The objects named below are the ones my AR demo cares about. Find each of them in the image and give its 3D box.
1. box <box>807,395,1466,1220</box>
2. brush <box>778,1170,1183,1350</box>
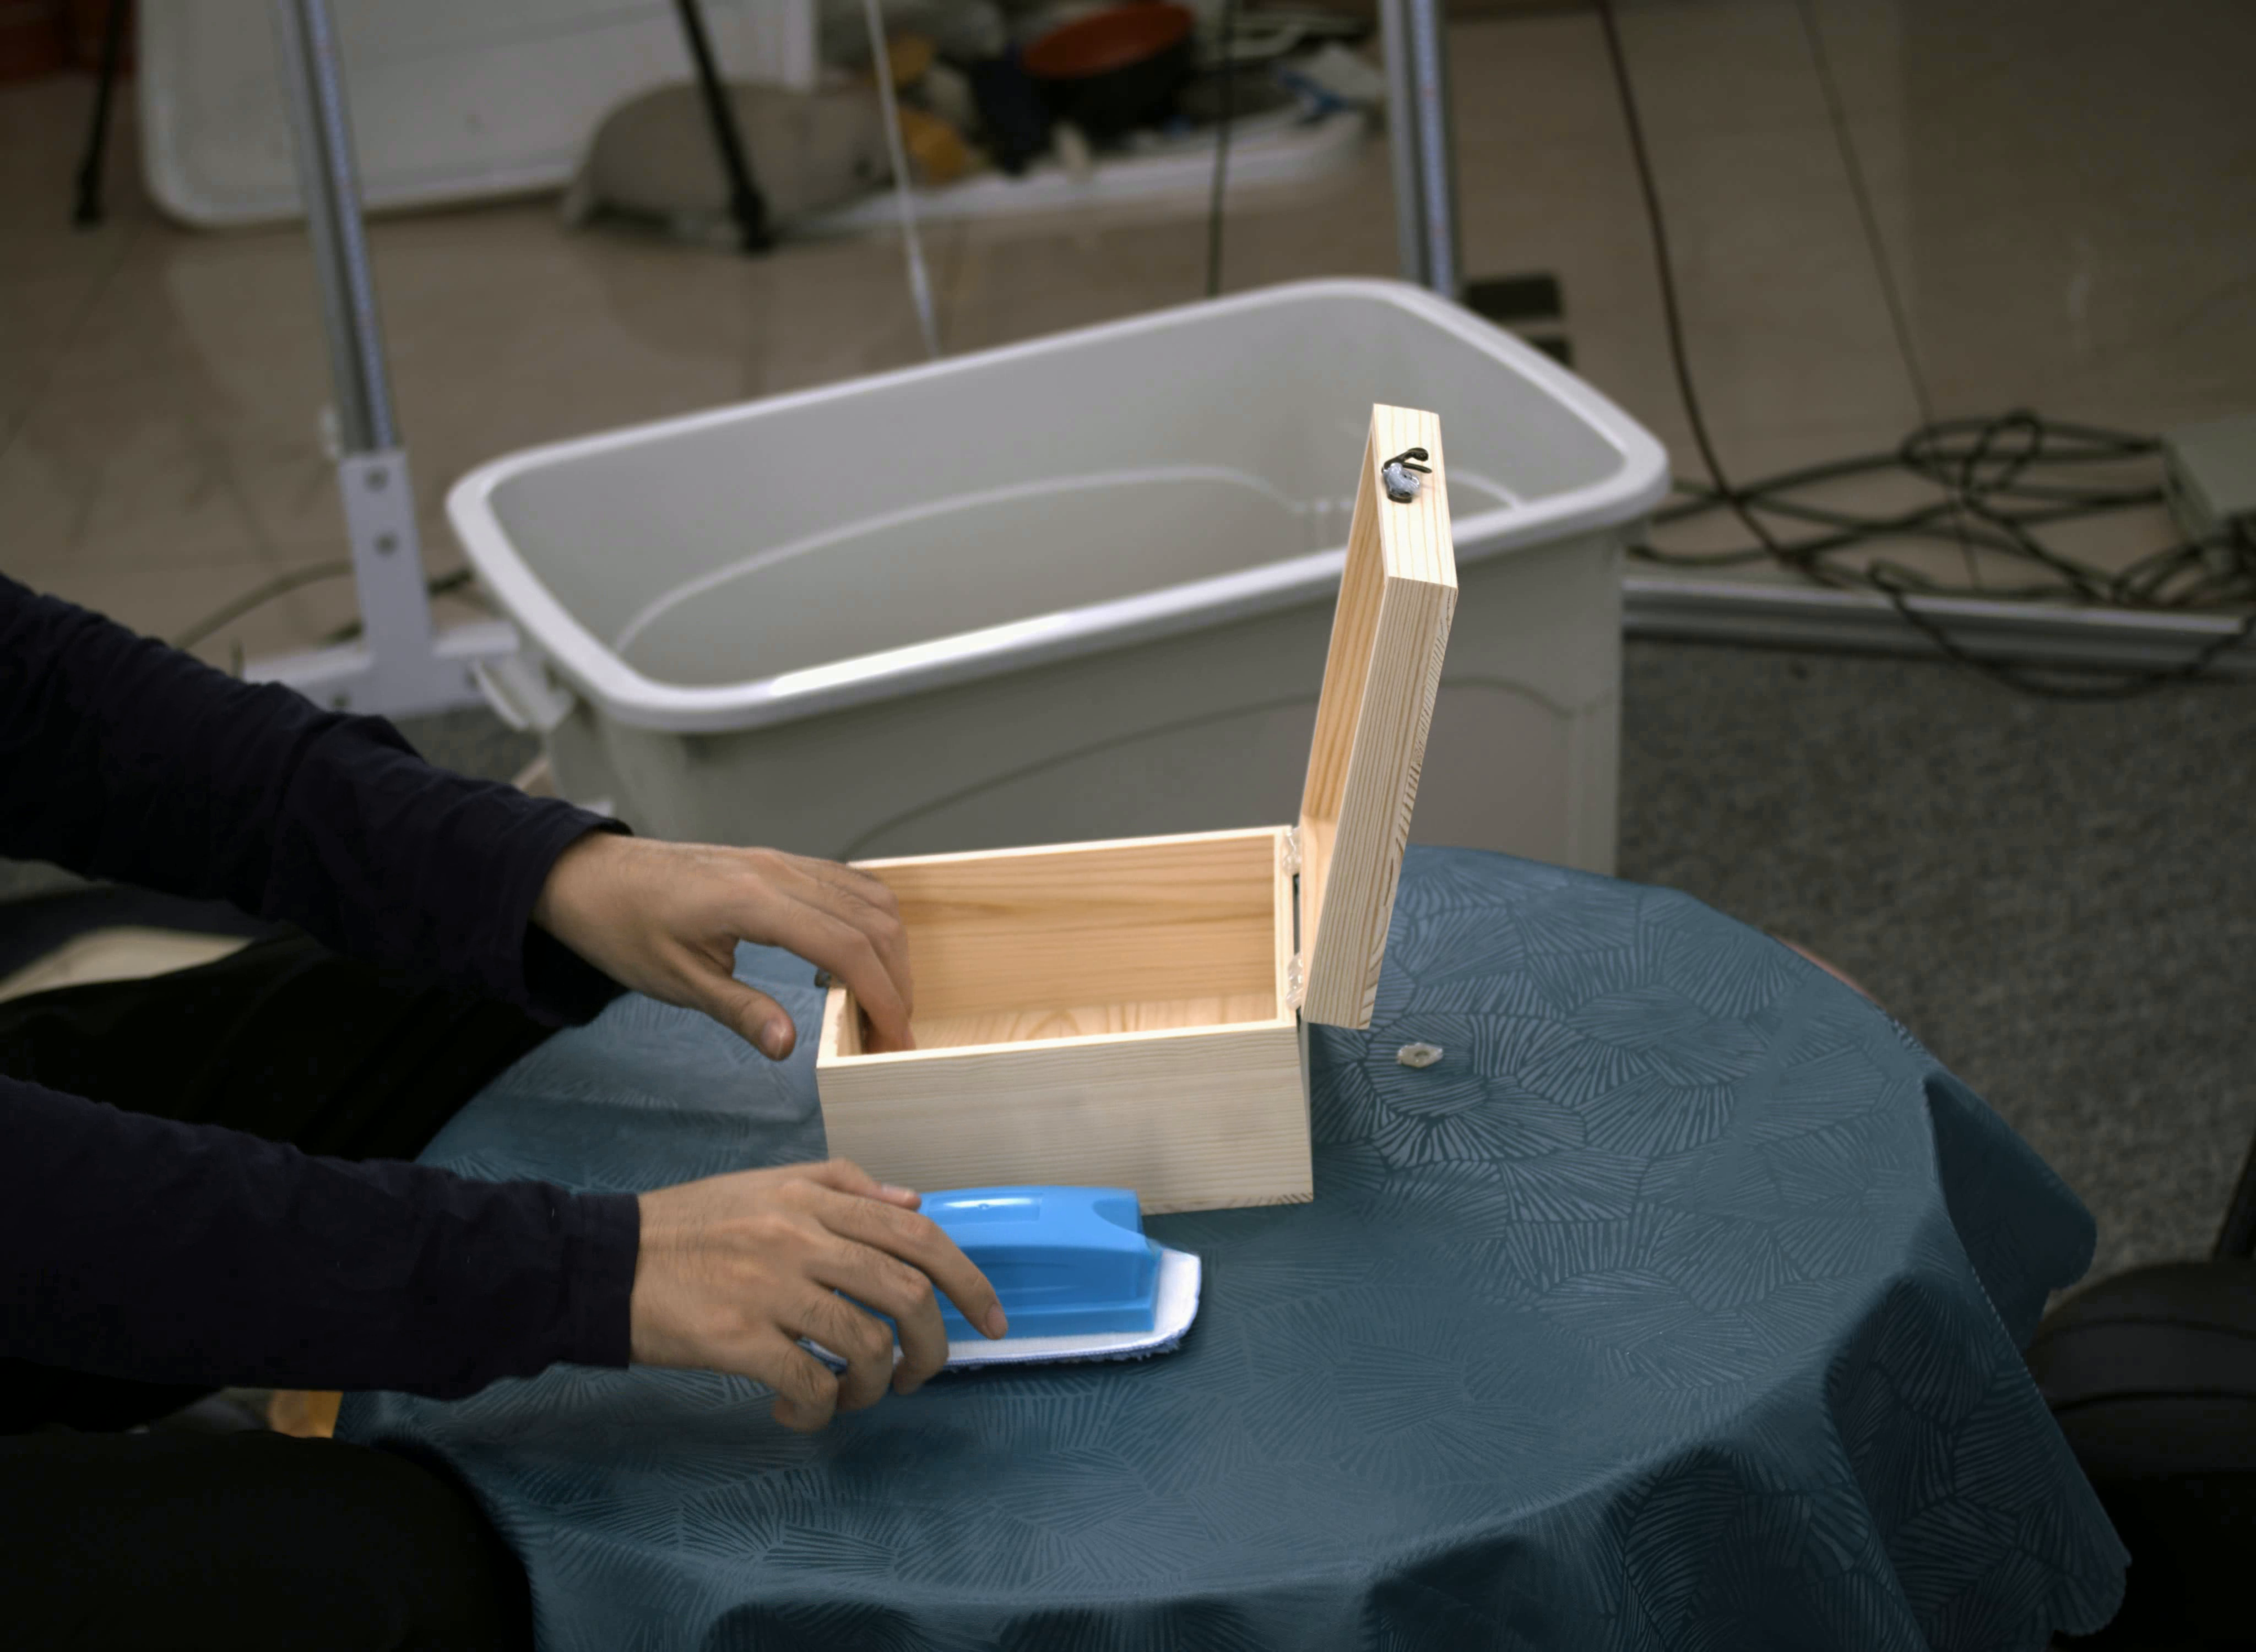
[{"bbox_3d":[0.001,-0.006,2.152,0.265,0.257,0.179,-6,26,2],"label":"box"},{"bbox_3d":[-0.054,0.155,2.053,0.144,0.057,0.083,-1,22,7],"label":"brush"}]
